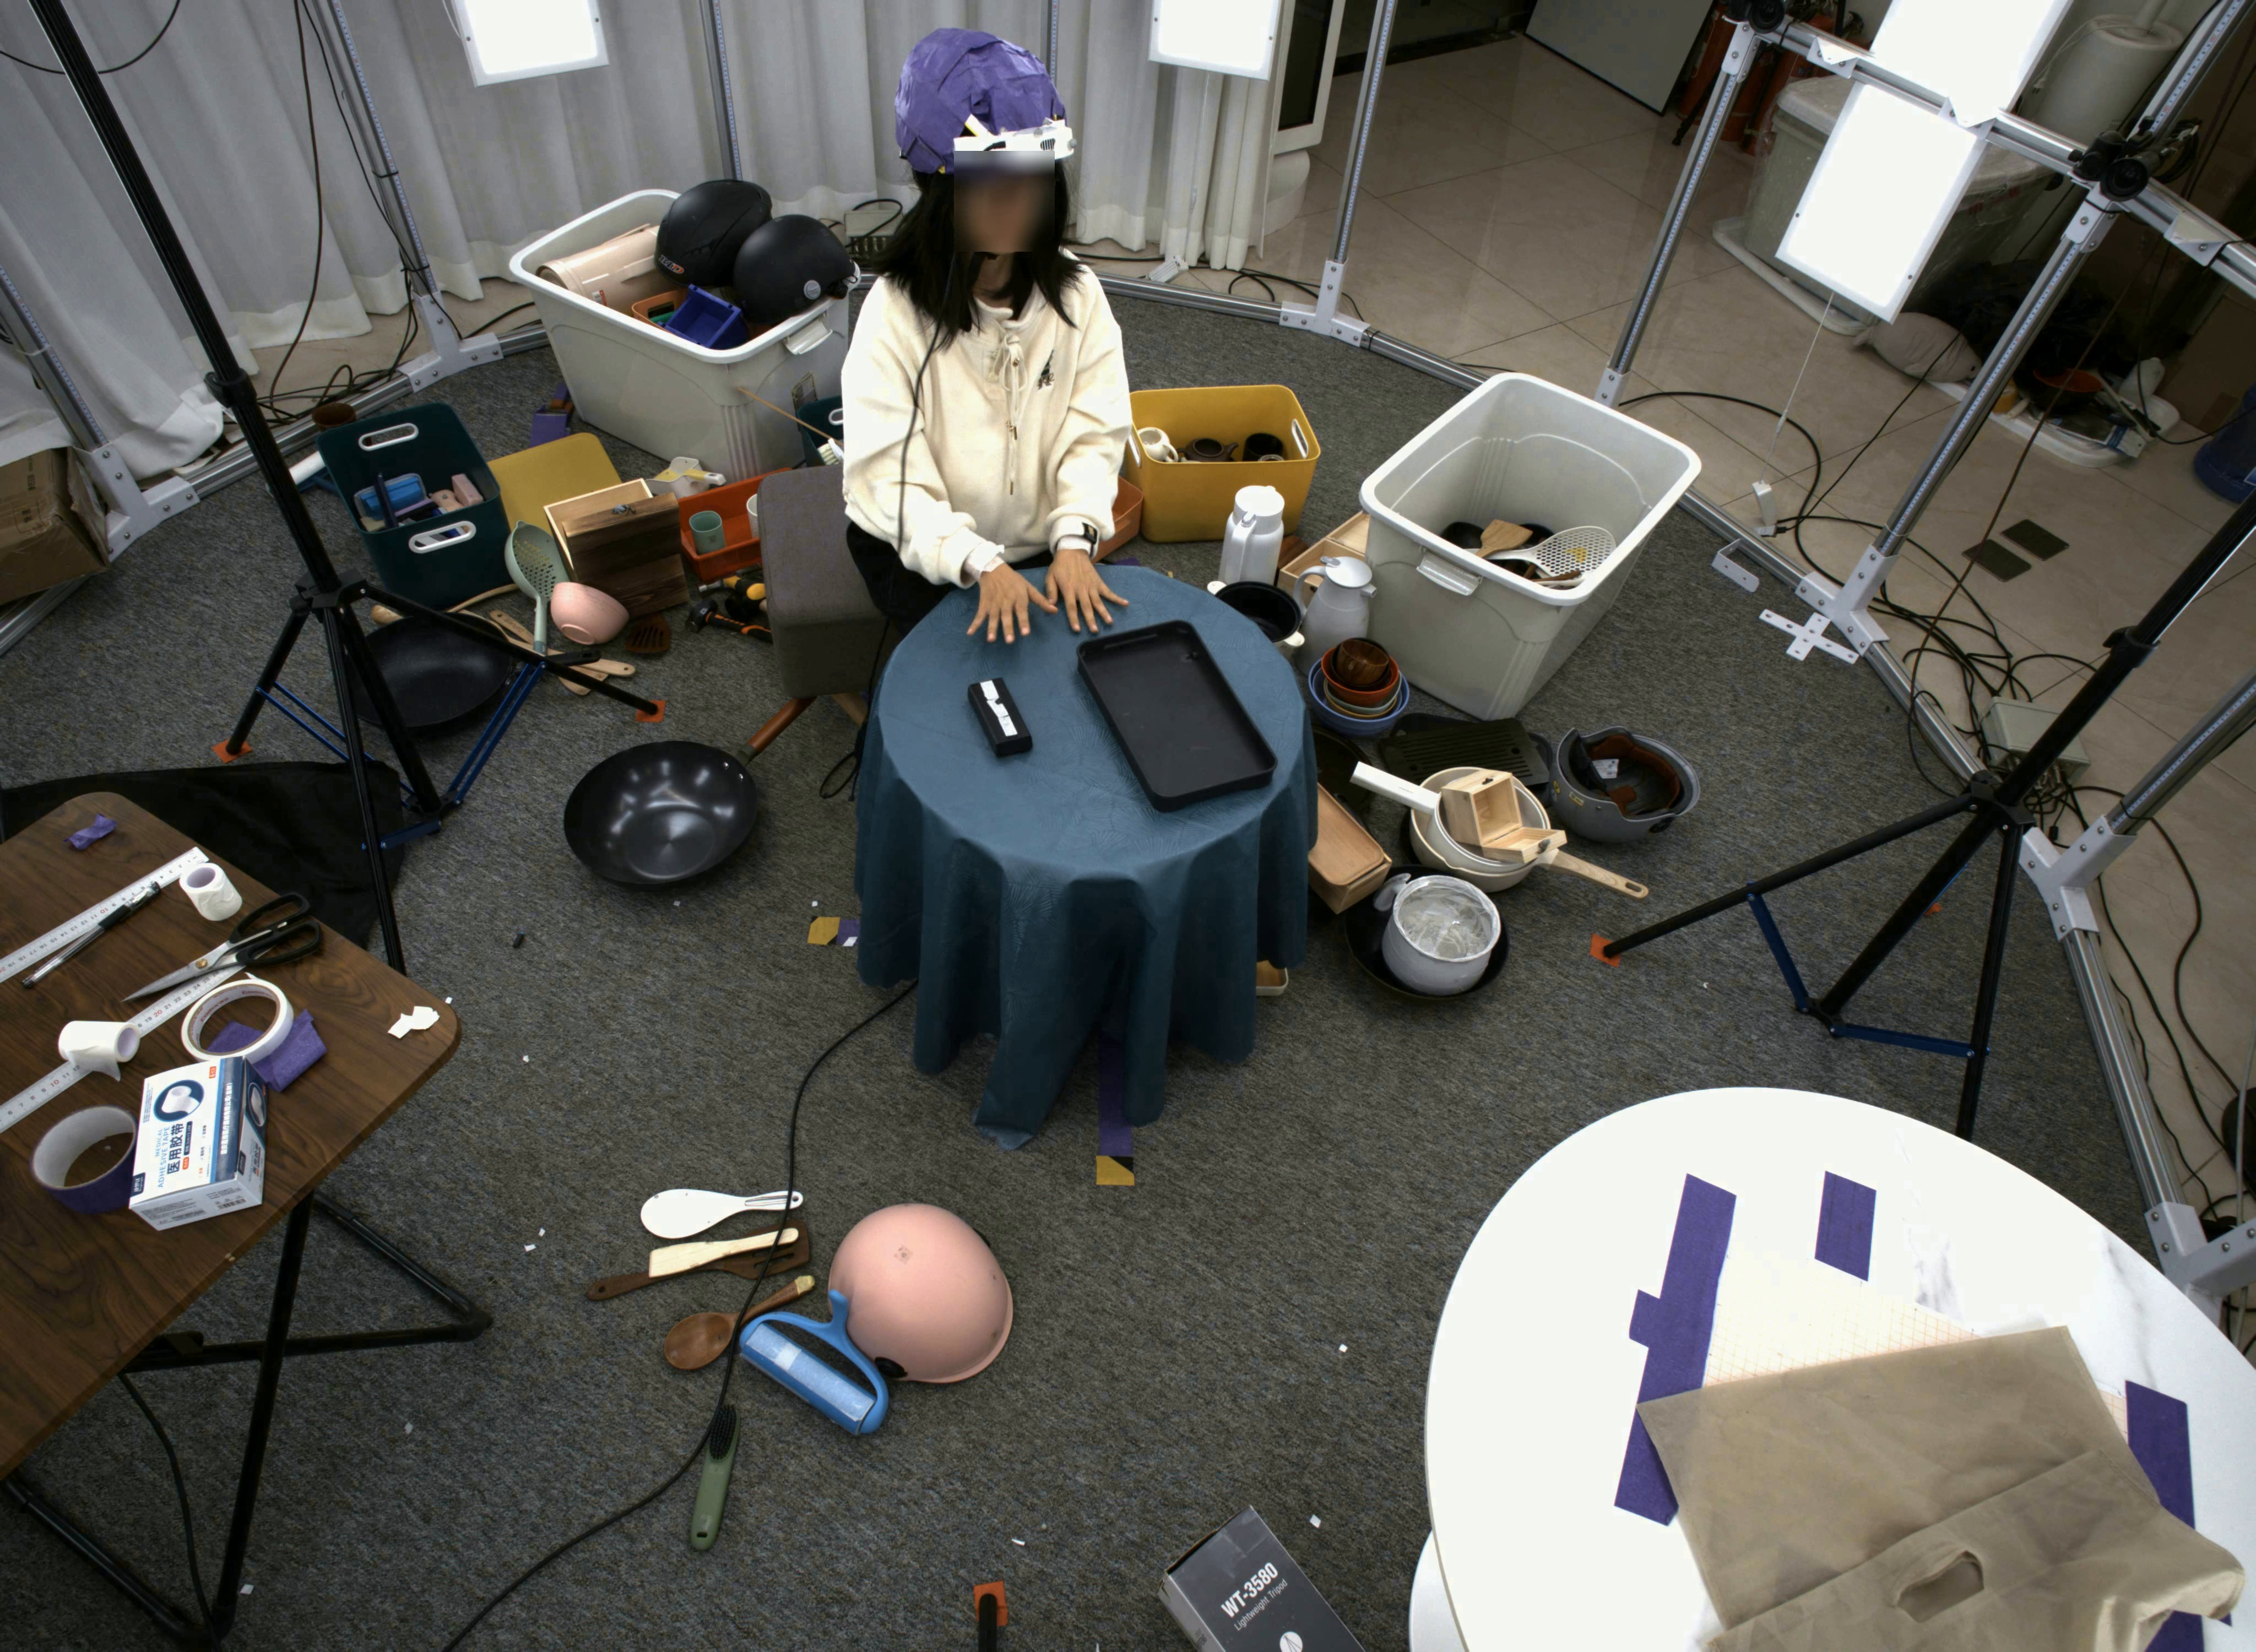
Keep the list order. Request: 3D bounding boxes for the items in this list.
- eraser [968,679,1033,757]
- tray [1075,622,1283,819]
[{"bbox_3d":[-0.176,-0.149,1.769,0.053,0.030,0.128,-13,51,-20],"label":"eraser"},{"bbox_3d":[0.066,-0.153,1.783,0.184,0.036,0.325,-17,53,-18],"label":"tray"}]
